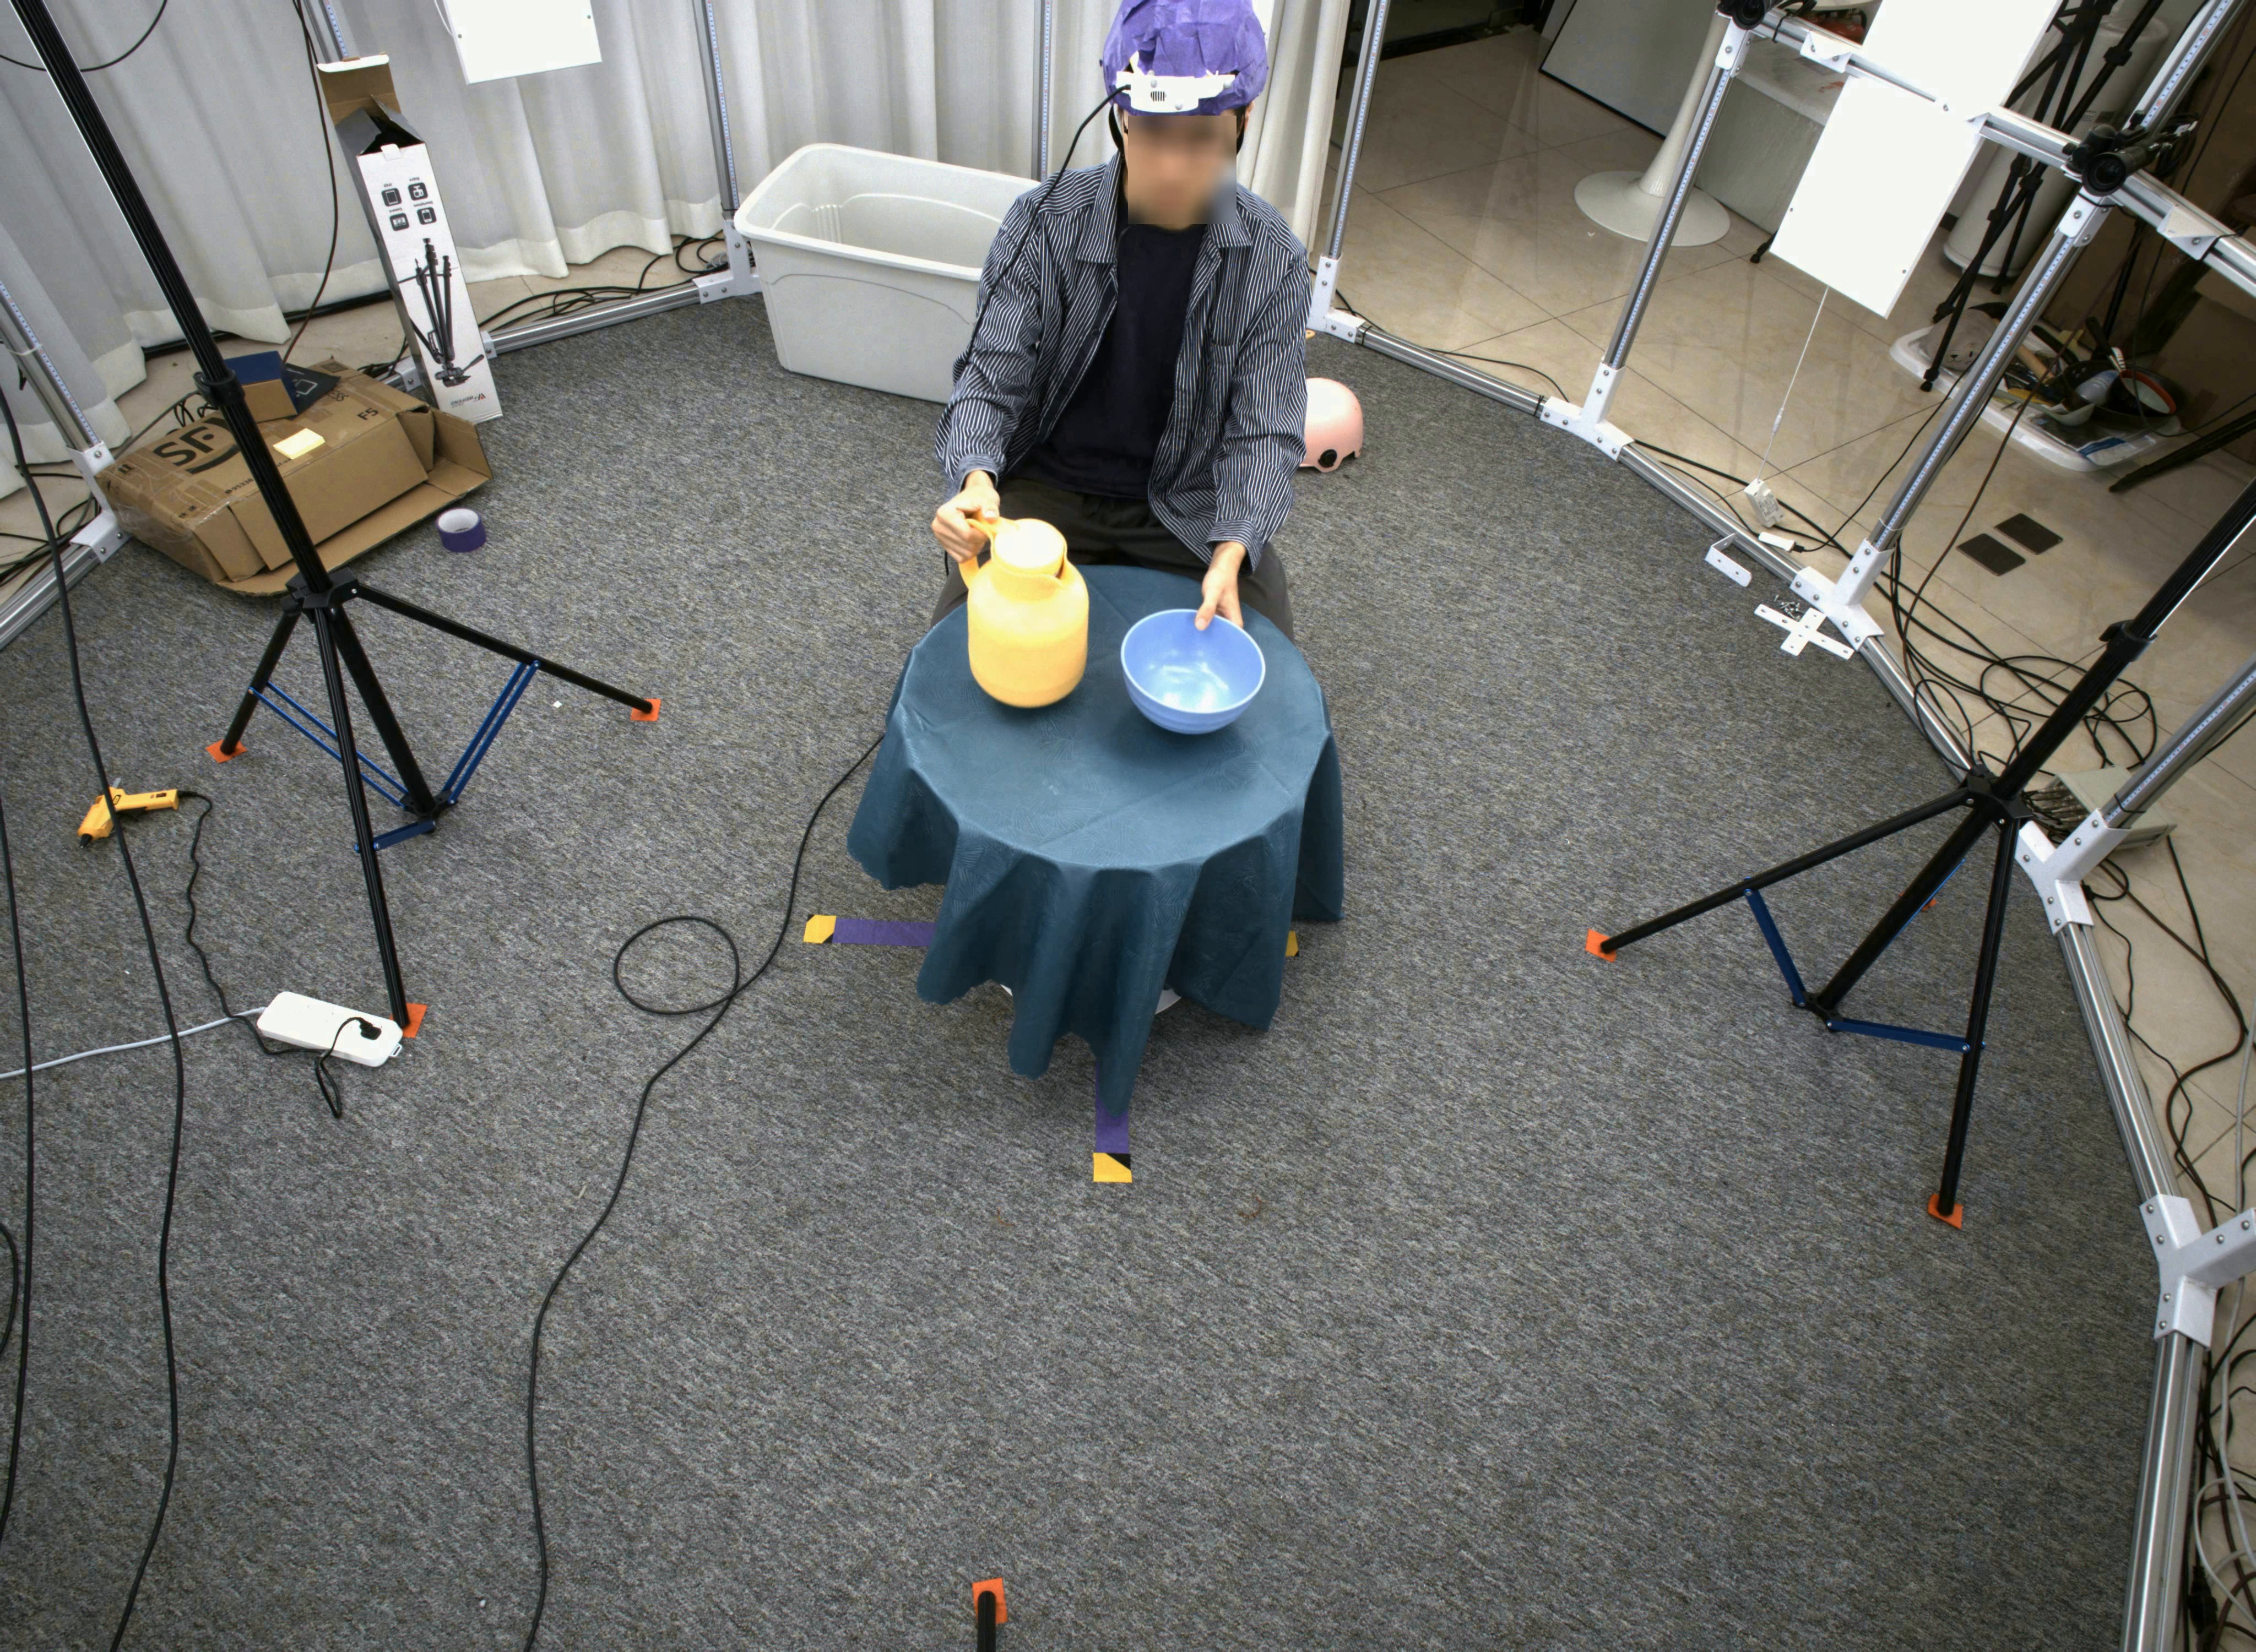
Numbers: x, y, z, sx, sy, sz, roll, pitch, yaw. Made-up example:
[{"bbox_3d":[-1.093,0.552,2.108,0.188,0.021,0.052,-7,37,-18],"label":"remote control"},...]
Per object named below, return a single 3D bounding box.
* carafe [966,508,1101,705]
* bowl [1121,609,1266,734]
[{"bbox_3d":[-0.130,-0.302,1.711,0.205,0.254,0.165,37,61,19],"label":"carafe"},{"bbox_3d":[0.082,-0.196,1.751,0.196,0.093,0.201,4,50,-5],"label":"bowl"}]
